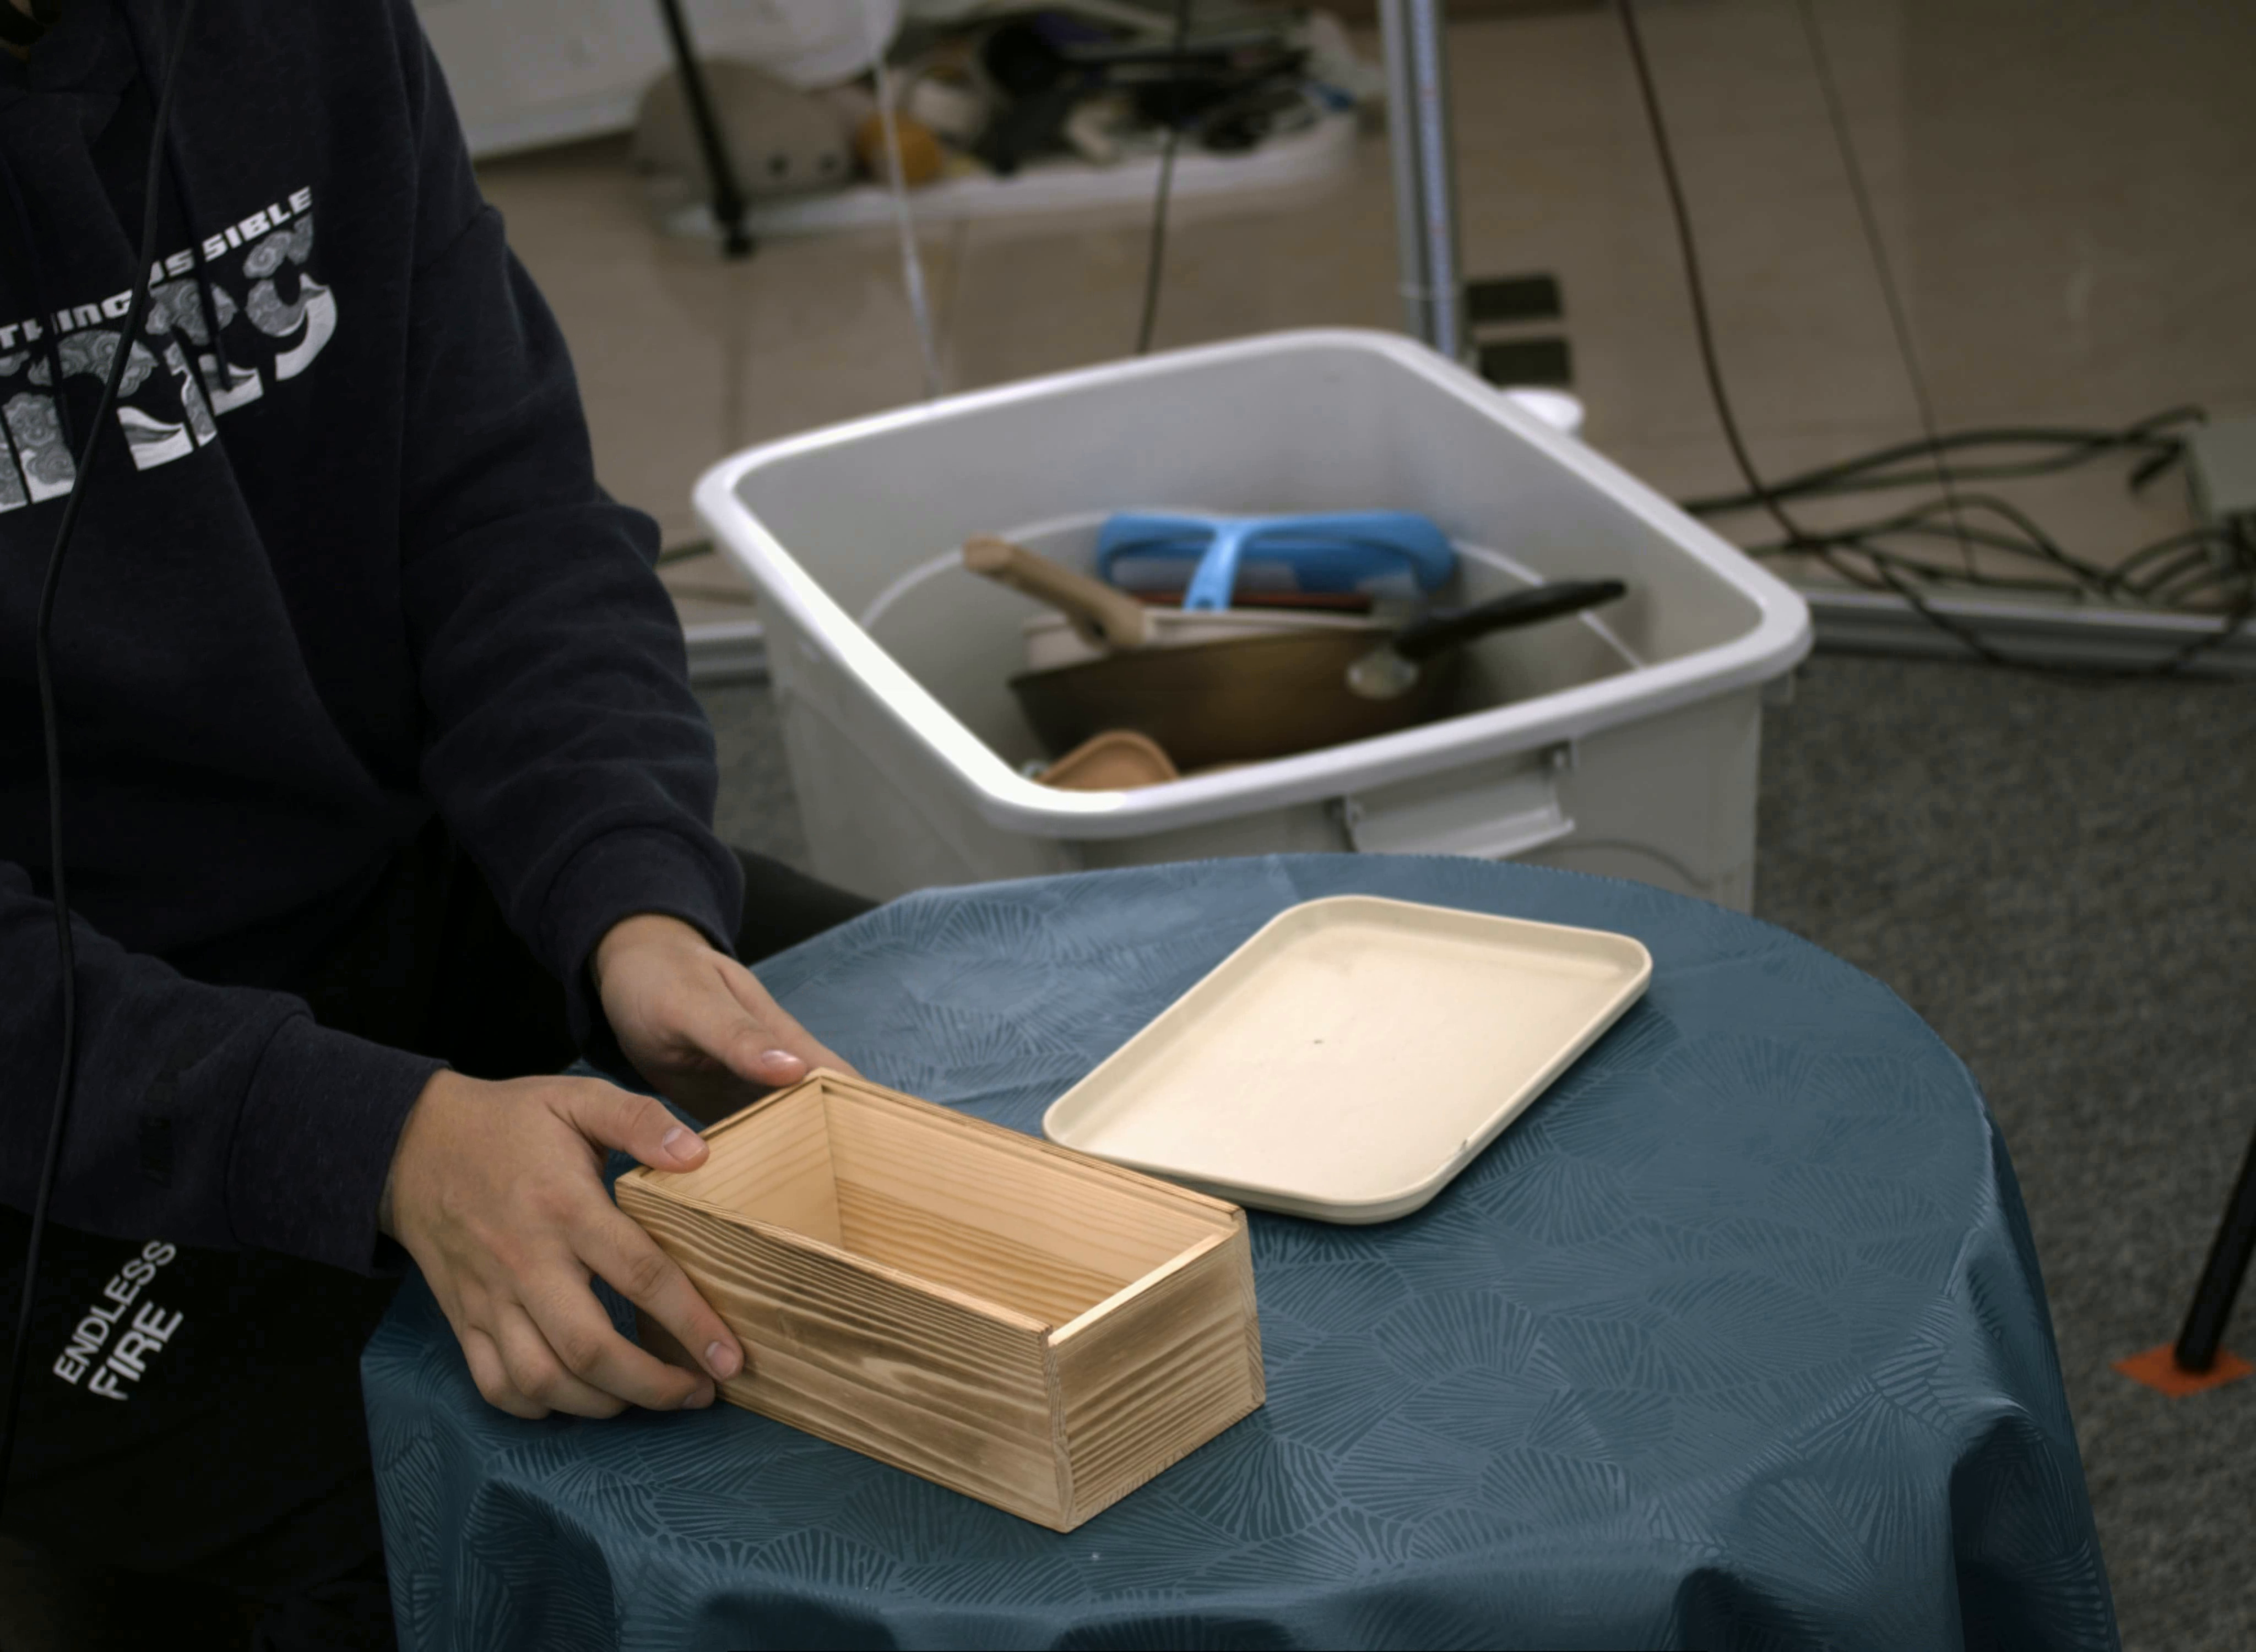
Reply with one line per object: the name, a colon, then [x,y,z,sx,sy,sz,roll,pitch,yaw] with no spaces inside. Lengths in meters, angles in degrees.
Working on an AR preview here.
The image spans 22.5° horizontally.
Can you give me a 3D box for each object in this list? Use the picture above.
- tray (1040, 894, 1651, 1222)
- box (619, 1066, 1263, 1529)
tray: [0.087,0.090,2.213,0.170,0.018,0.237,8,28,30]
box: [-0.068,0.164,2.013,0.210,0.081,0.106,16,32,40]
